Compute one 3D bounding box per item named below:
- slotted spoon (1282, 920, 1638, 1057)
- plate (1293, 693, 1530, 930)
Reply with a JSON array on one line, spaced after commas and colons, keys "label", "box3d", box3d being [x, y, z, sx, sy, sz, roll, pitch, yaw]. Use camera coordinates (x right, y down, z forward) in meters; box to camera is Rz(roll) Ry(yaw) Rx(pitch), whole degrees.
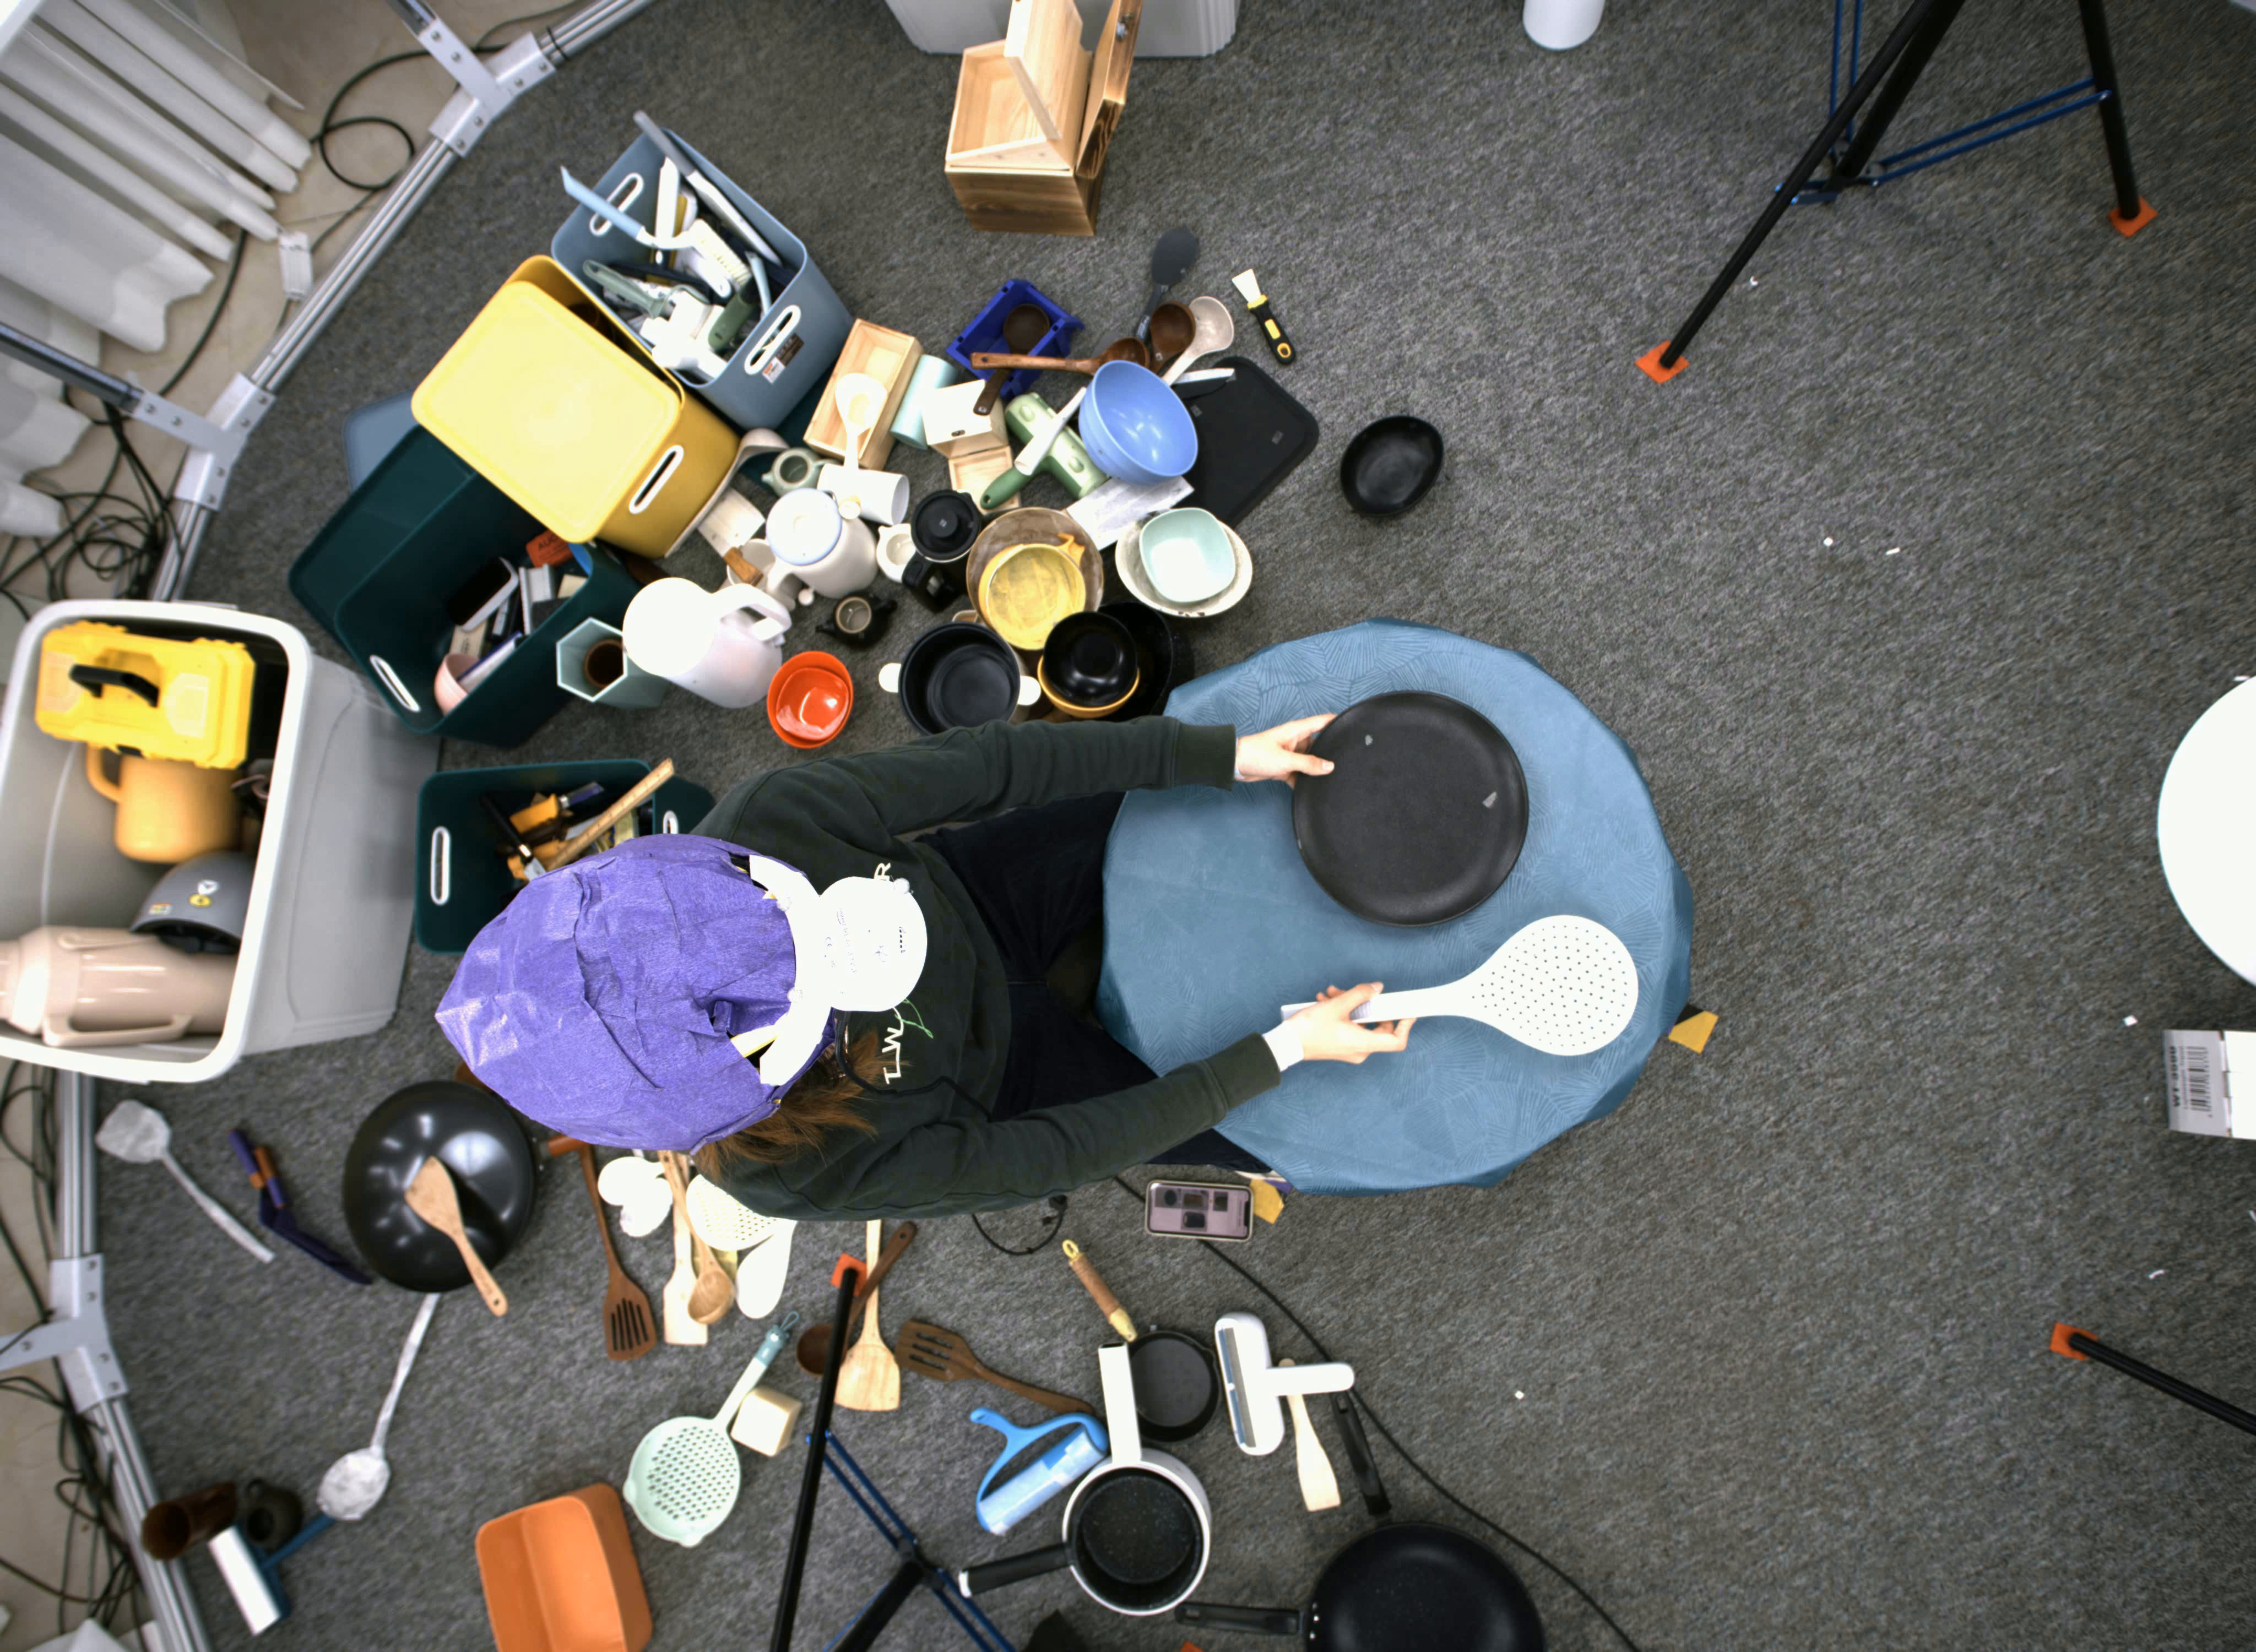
[{"label": "slotted spoon", "box3d": [0.330, 0.174, 1.387, 0.351, 0.046, 0.135, -7, 80, 6]}, {"label": "plate", "box3d": [0.290, -0.016, 1.418, 0.245, 0.023, 0.245, 0, 94, 2]}]
